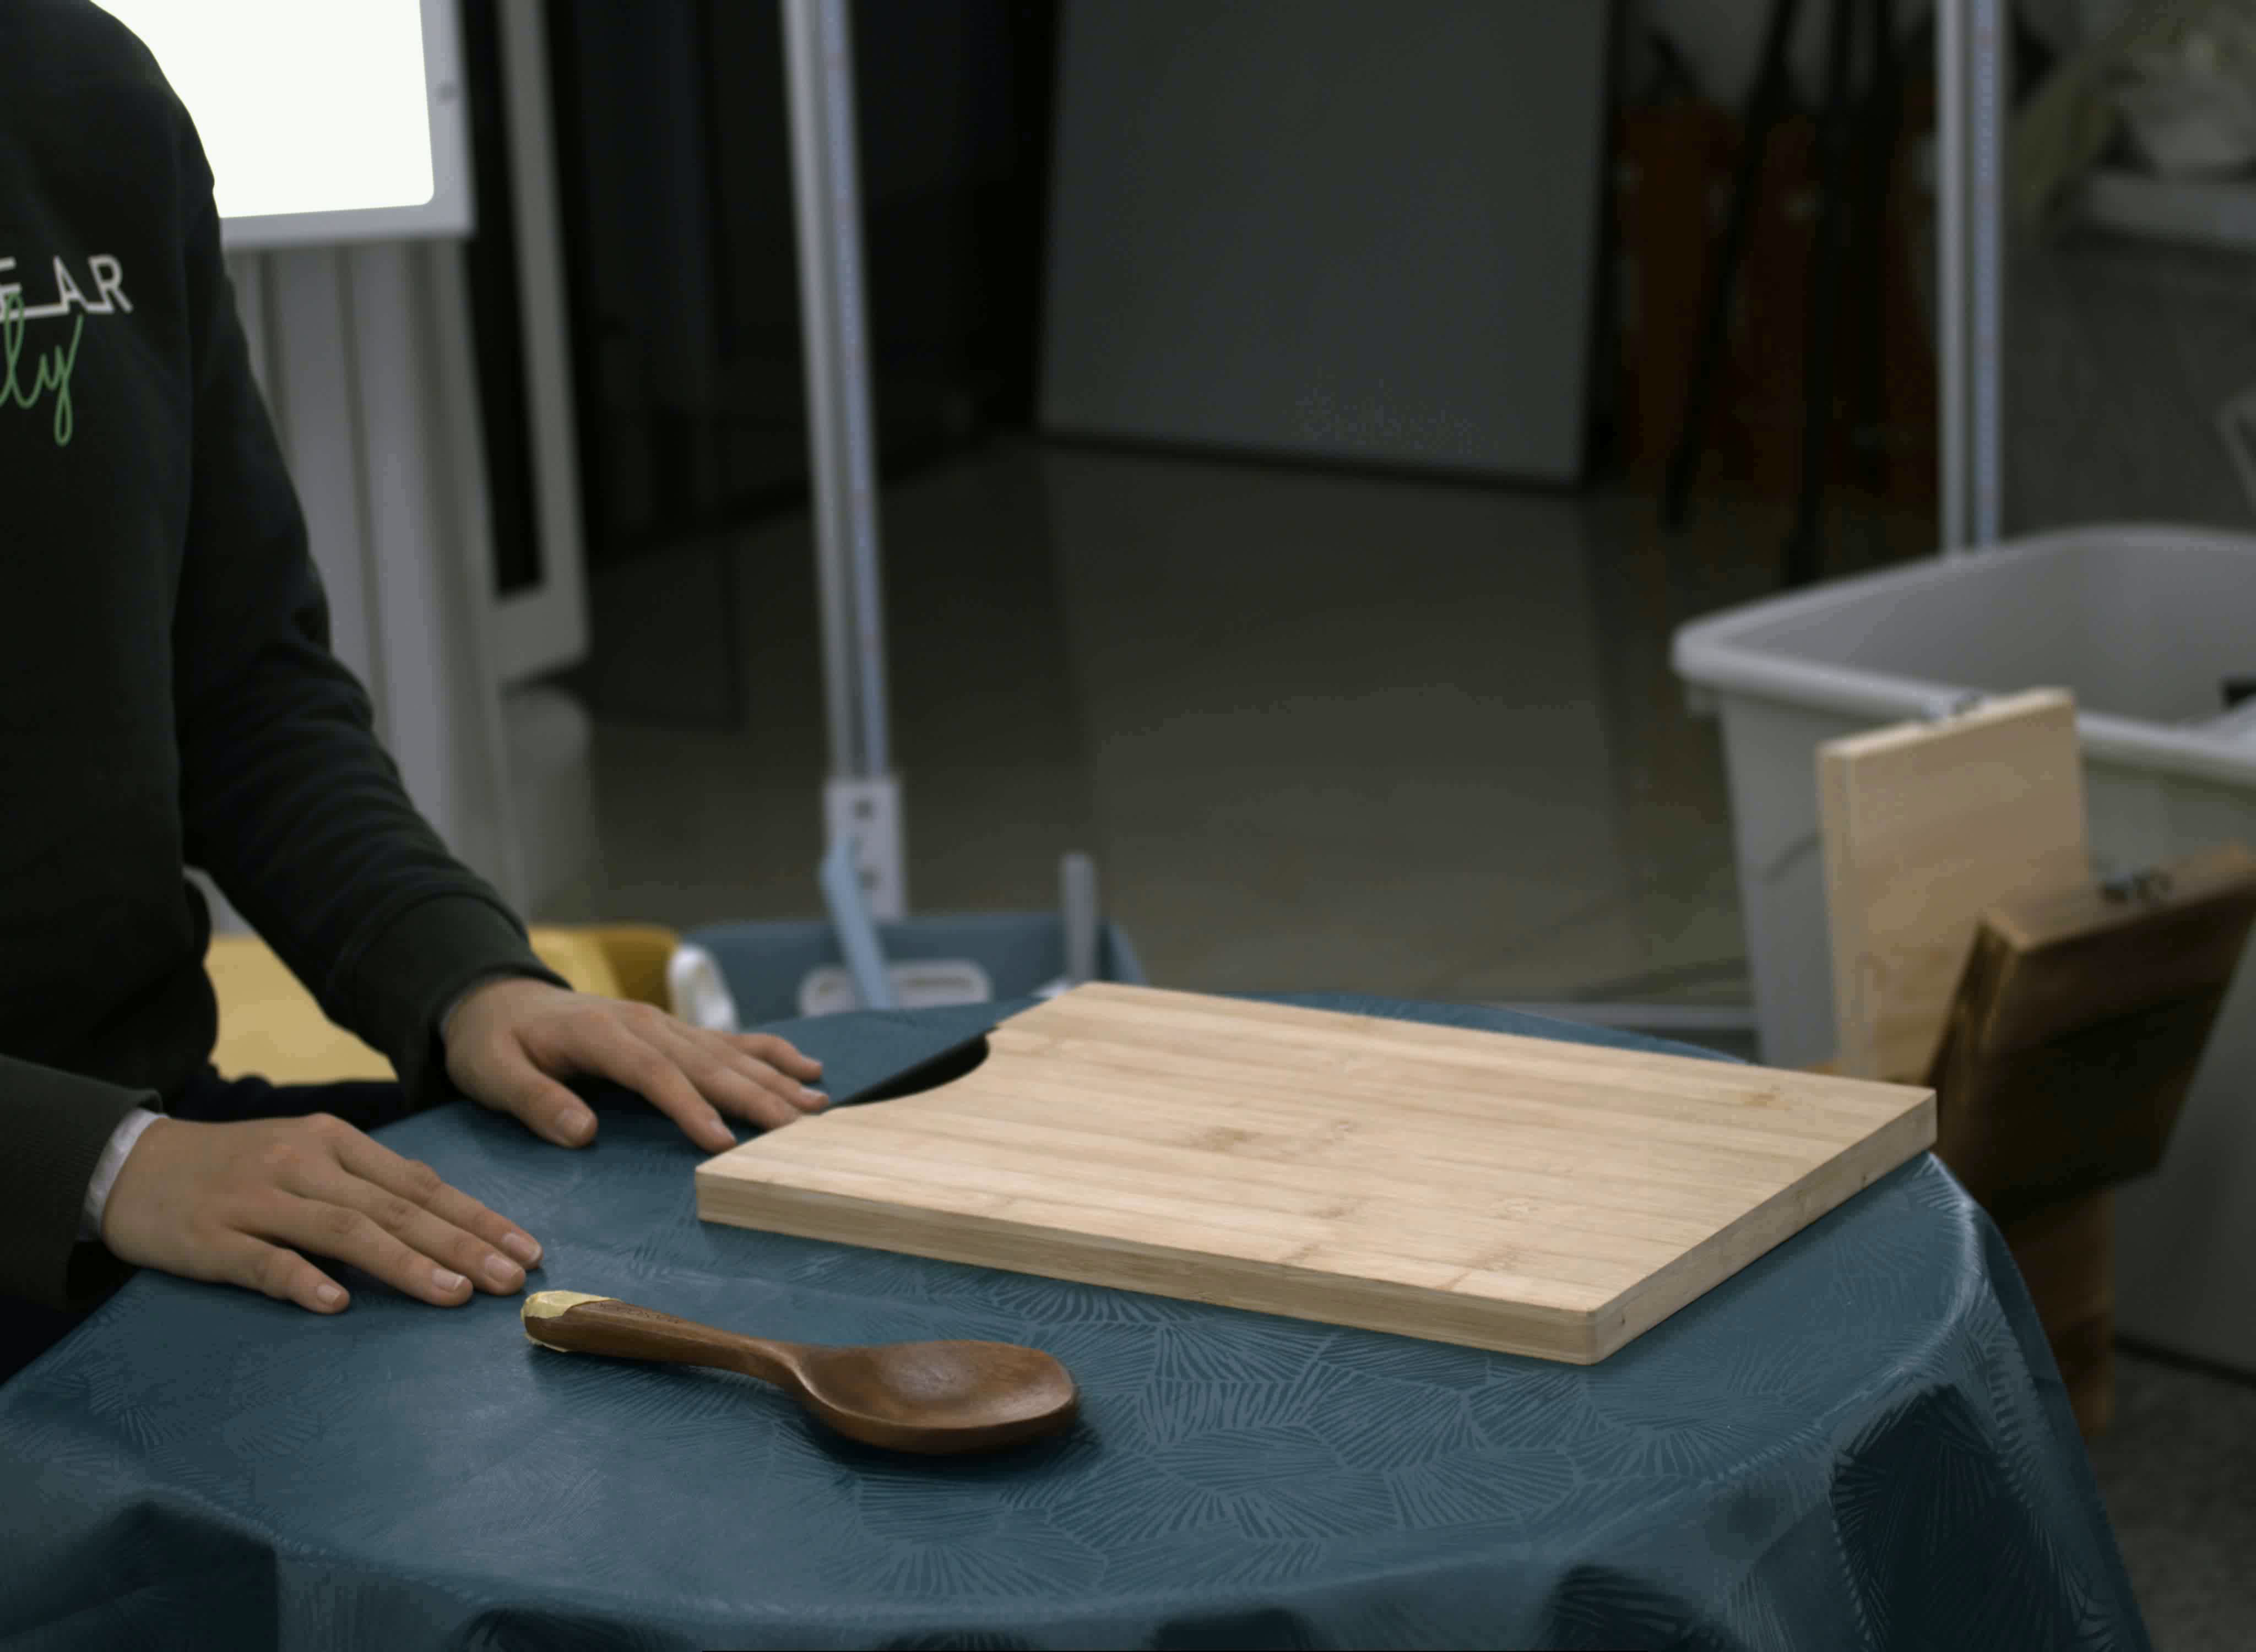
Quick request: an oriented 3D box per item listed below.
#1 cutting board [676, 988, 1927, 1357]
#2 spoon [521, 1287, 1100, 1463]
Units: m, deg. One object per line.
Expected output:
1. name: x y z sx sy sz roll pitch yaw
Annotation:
1. cutting board: 0.057 0.109 1.772 0.350 0.024 0.246 5 16 33
2. spoon: -0.099 0.161 1.601 0.217 0.017 0.074 8 20 39
